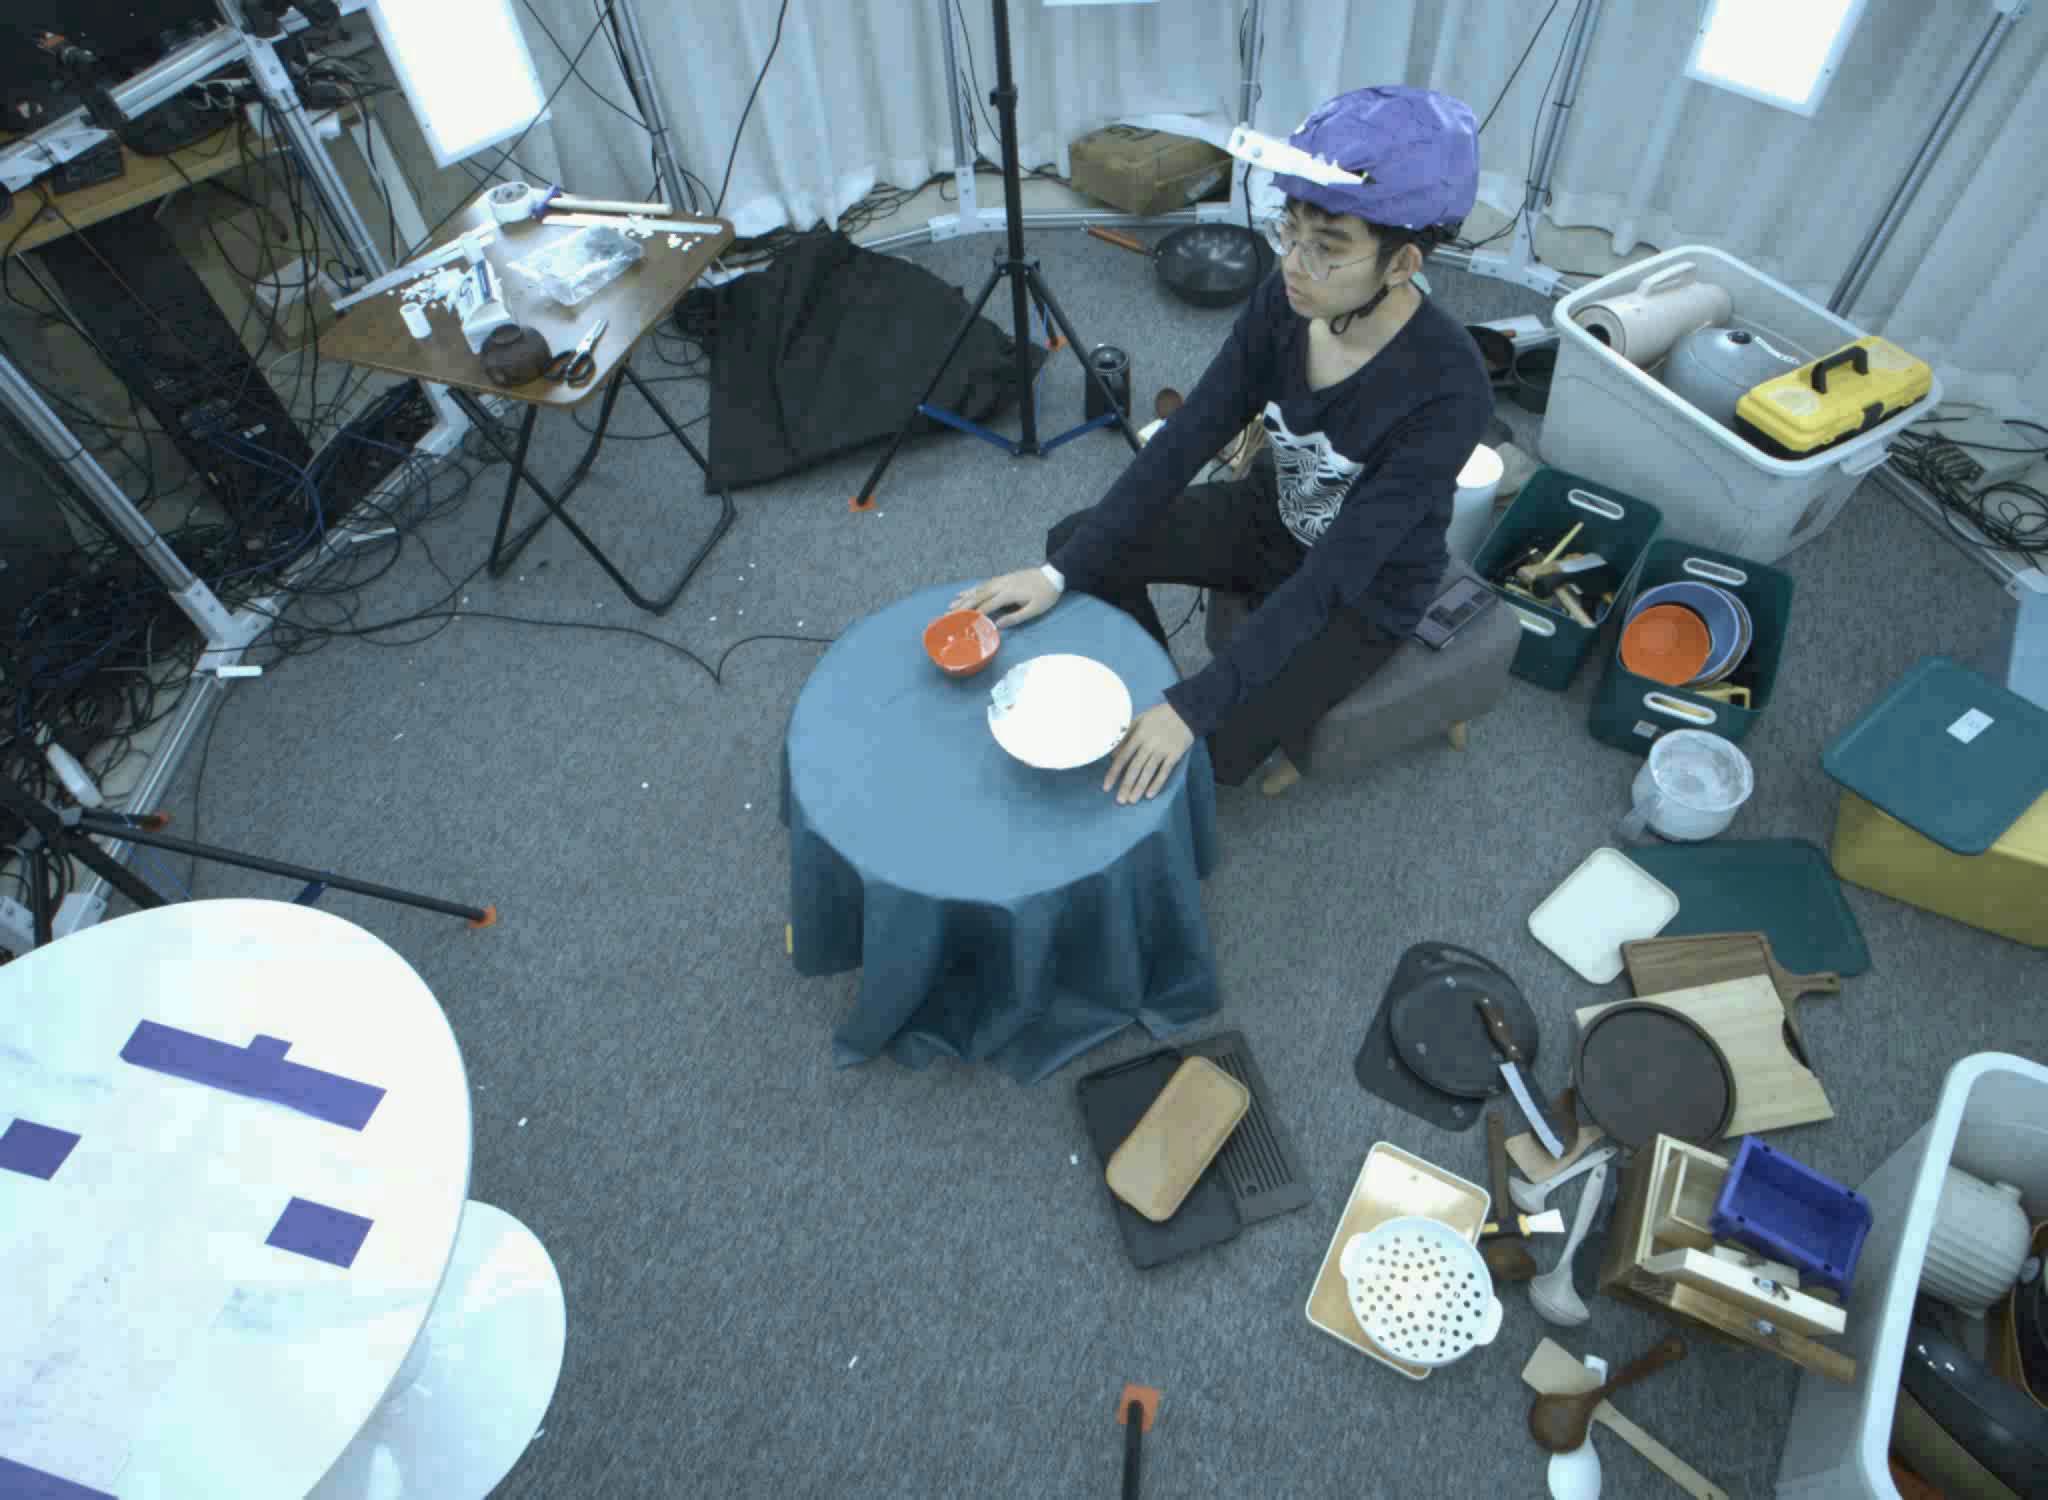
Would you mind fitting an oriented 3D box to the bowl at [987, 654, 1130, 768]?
[{"bbox_3d":[0.050,-0.038,1.774,0.204,0.079,0.202,0,55,1],"label":"bowl"}]

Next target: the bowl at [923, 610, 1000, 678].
[{"bbox_3d":[-0.094,-0.155,1.877,0.119,0.052,0.117,-1,53,2],"label":"bowl"}]
